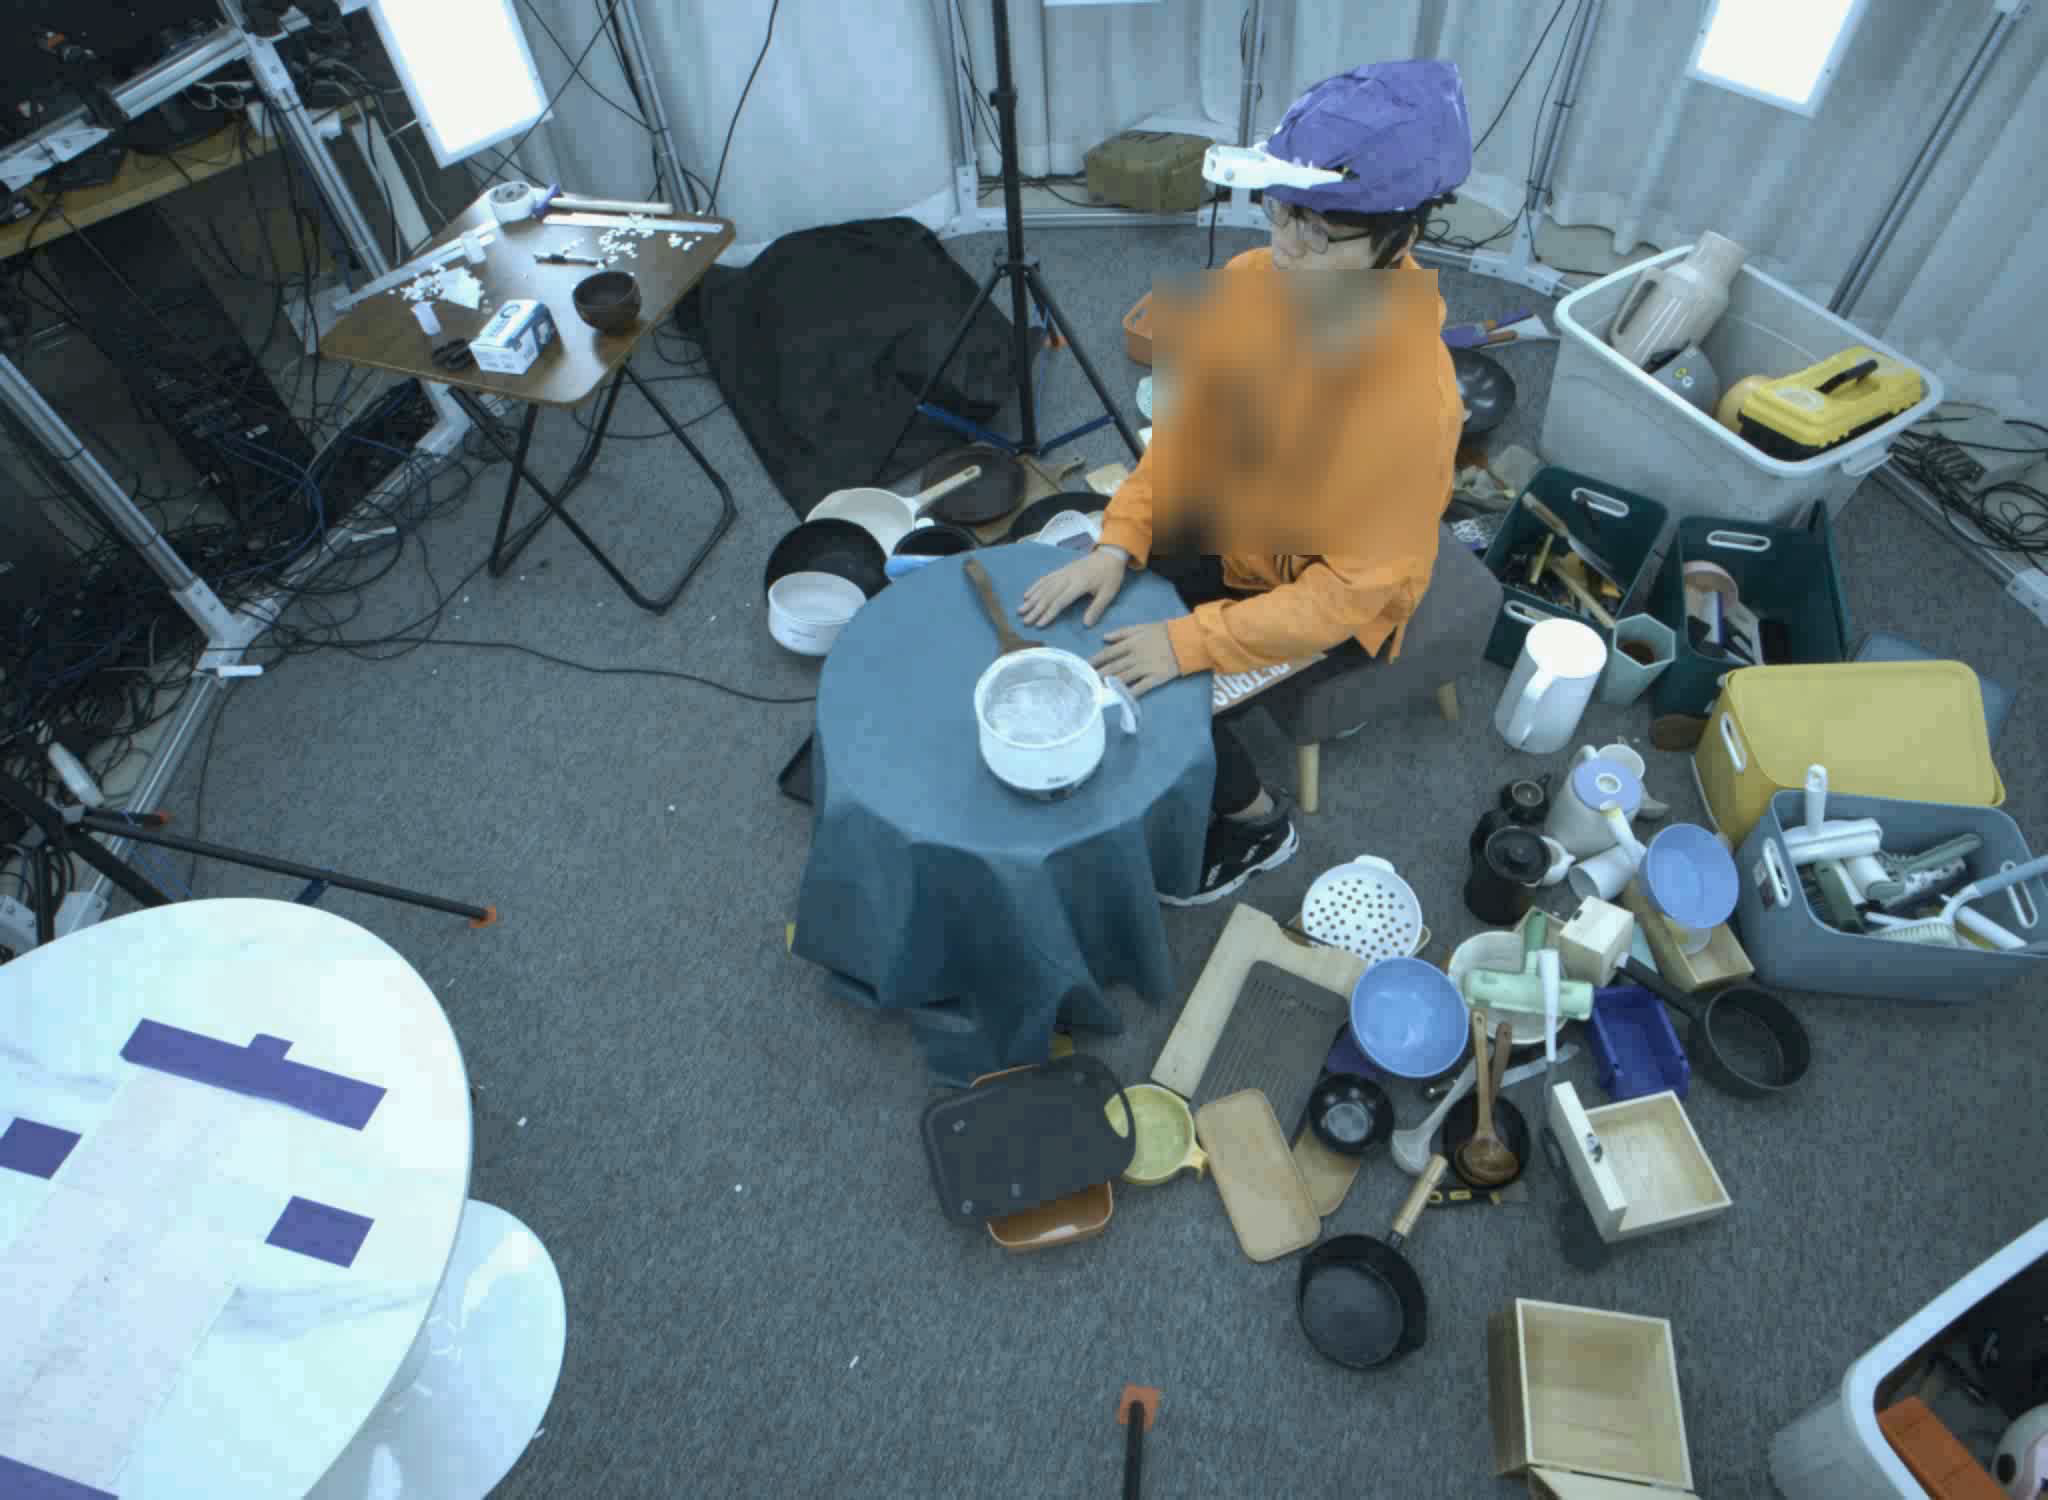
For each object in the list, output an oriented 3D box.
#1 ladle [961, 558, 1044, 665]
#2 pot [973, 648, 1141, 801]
[{"bbox_3d":[-0.046,-0.229,1.907,0.076,0.072,0.269,-18,57,-12],"label":"ladle"},{"bbox_3d":[0.050,-0.042,1.730,0.235,0.138,0.176,-15,56,-7],"label":"pot"}]
